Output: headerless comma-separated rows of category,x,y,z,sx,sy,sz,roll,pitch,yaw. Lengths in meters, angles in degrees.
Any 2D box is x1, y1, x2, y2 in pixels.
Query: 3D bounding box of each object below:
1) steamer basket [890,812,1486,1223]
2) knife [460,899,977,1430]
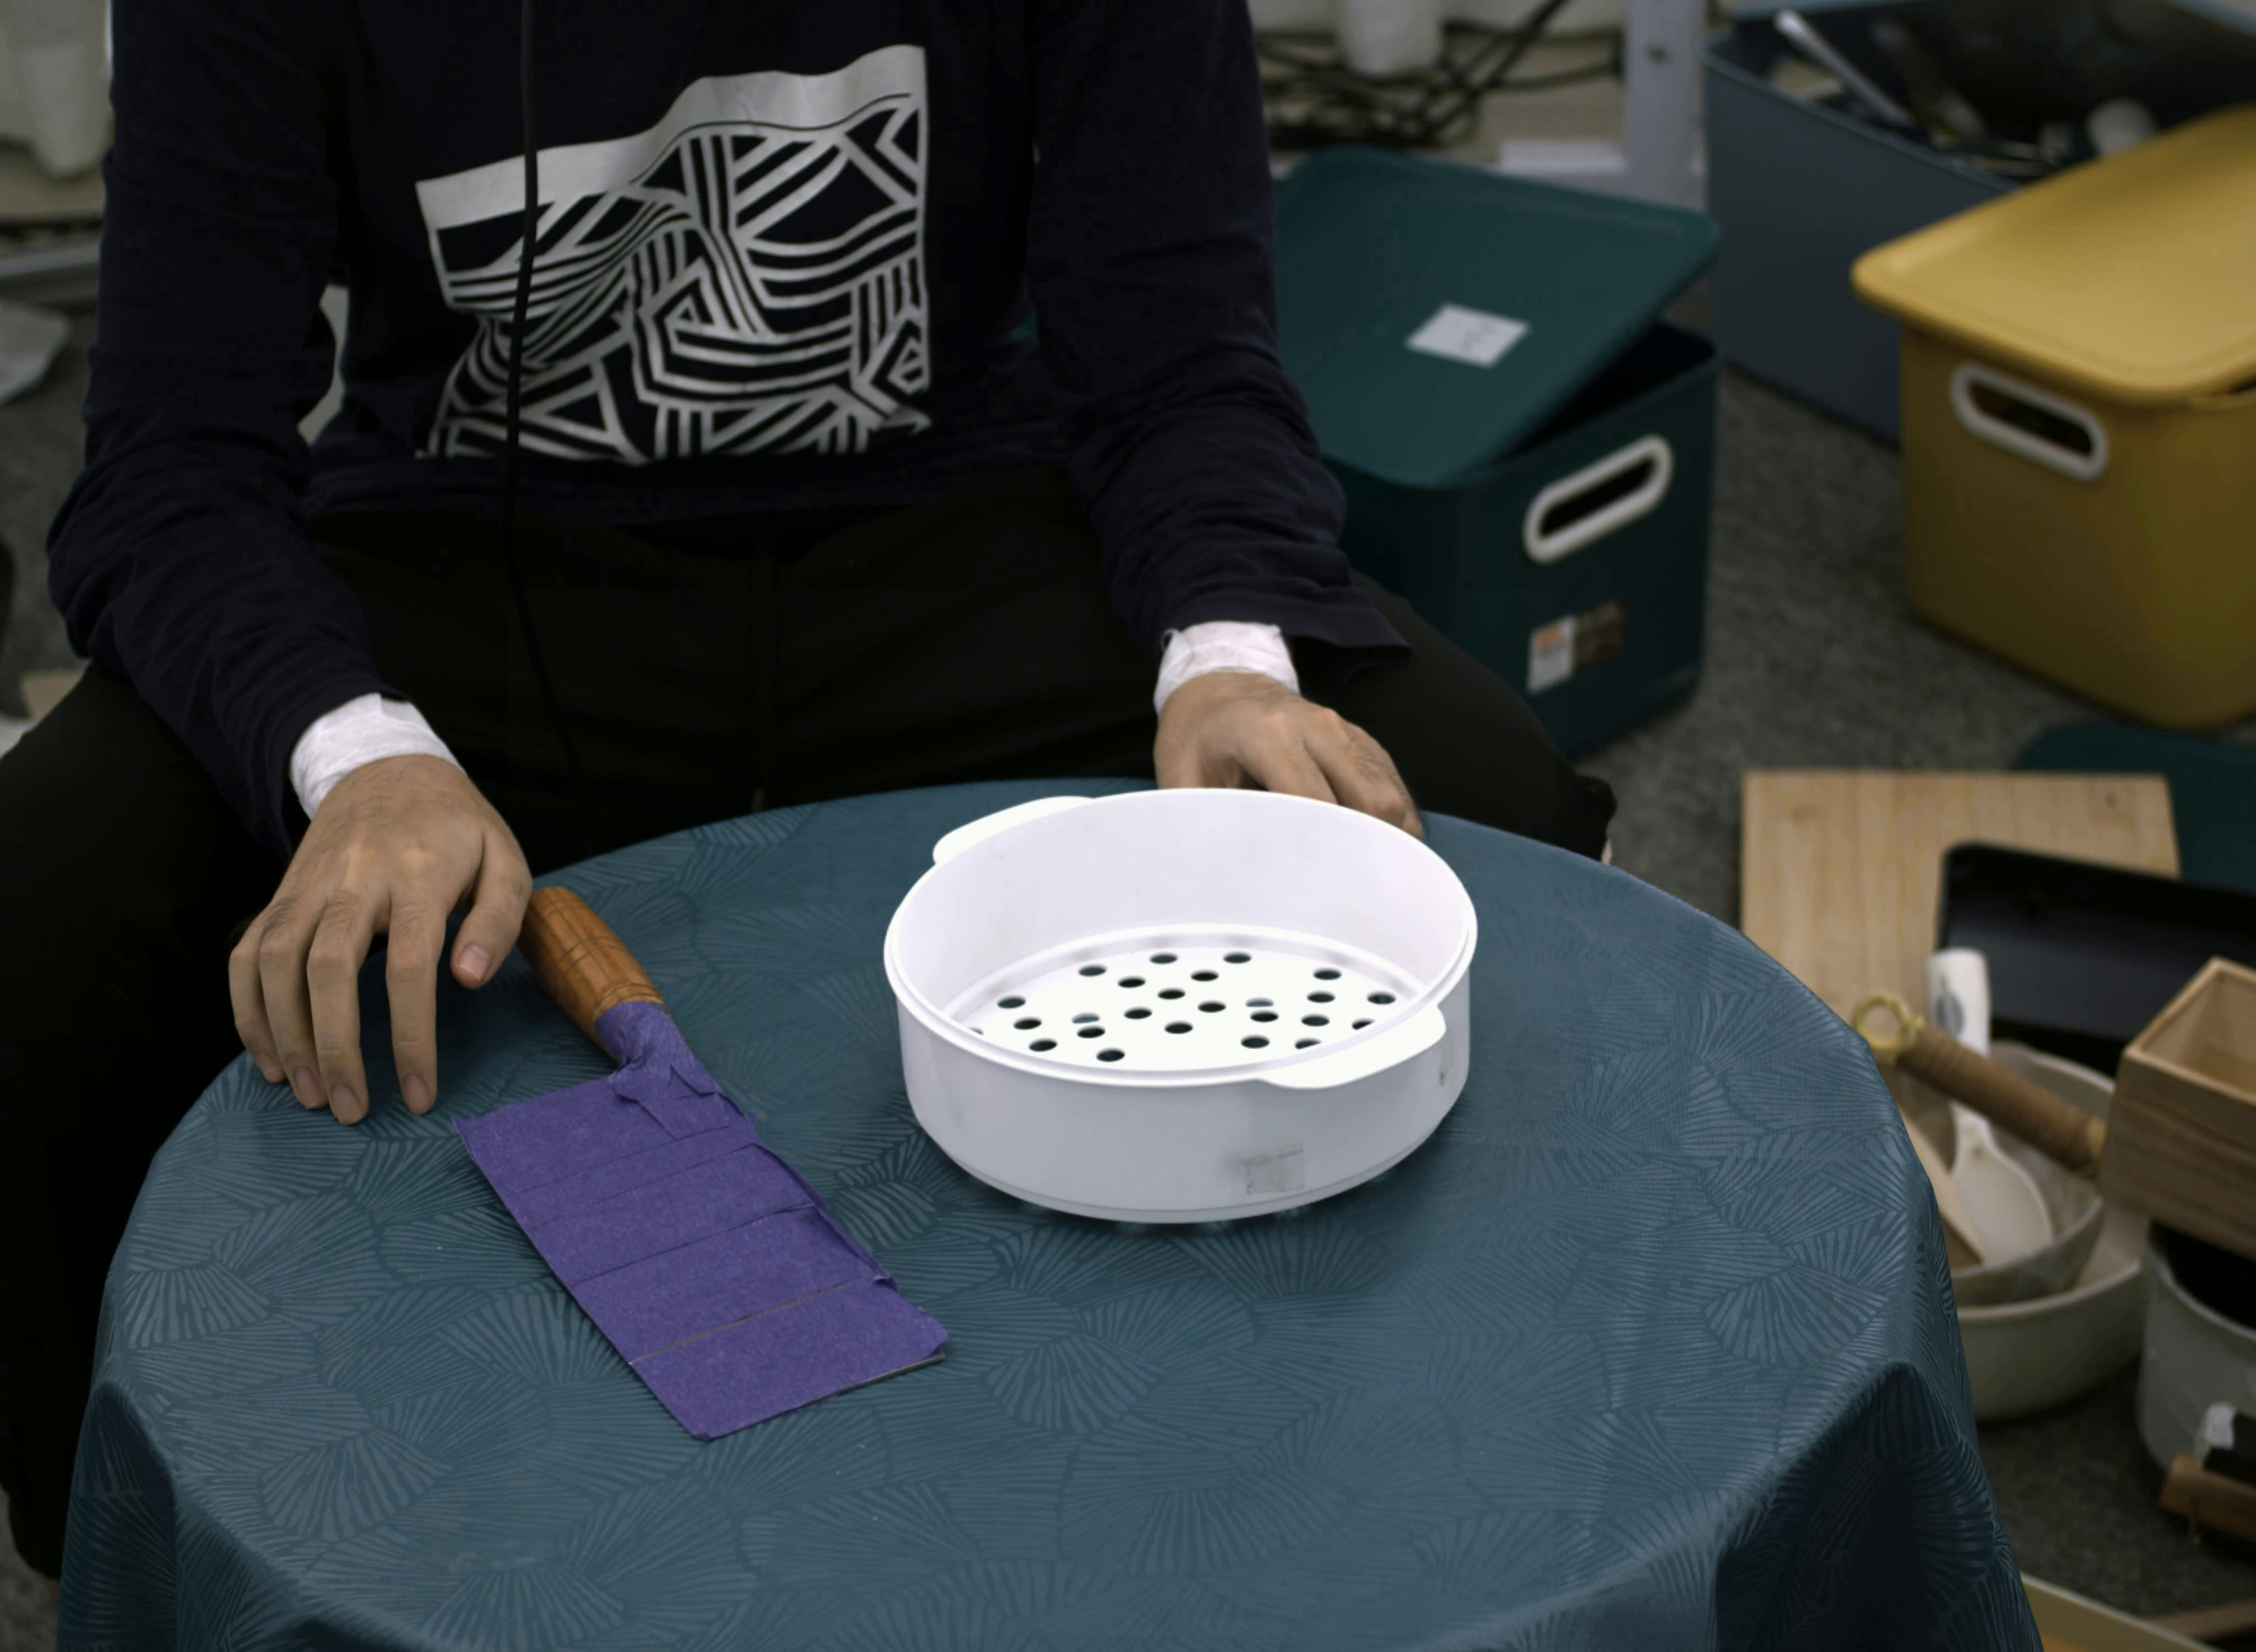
steamer basket,0.022,0.065,1.900,0.203,0.068,0.231,-19,28,-31
knife,-0.165,0.109,1.873,0.104,0.032,0.317,-15,30,-24
